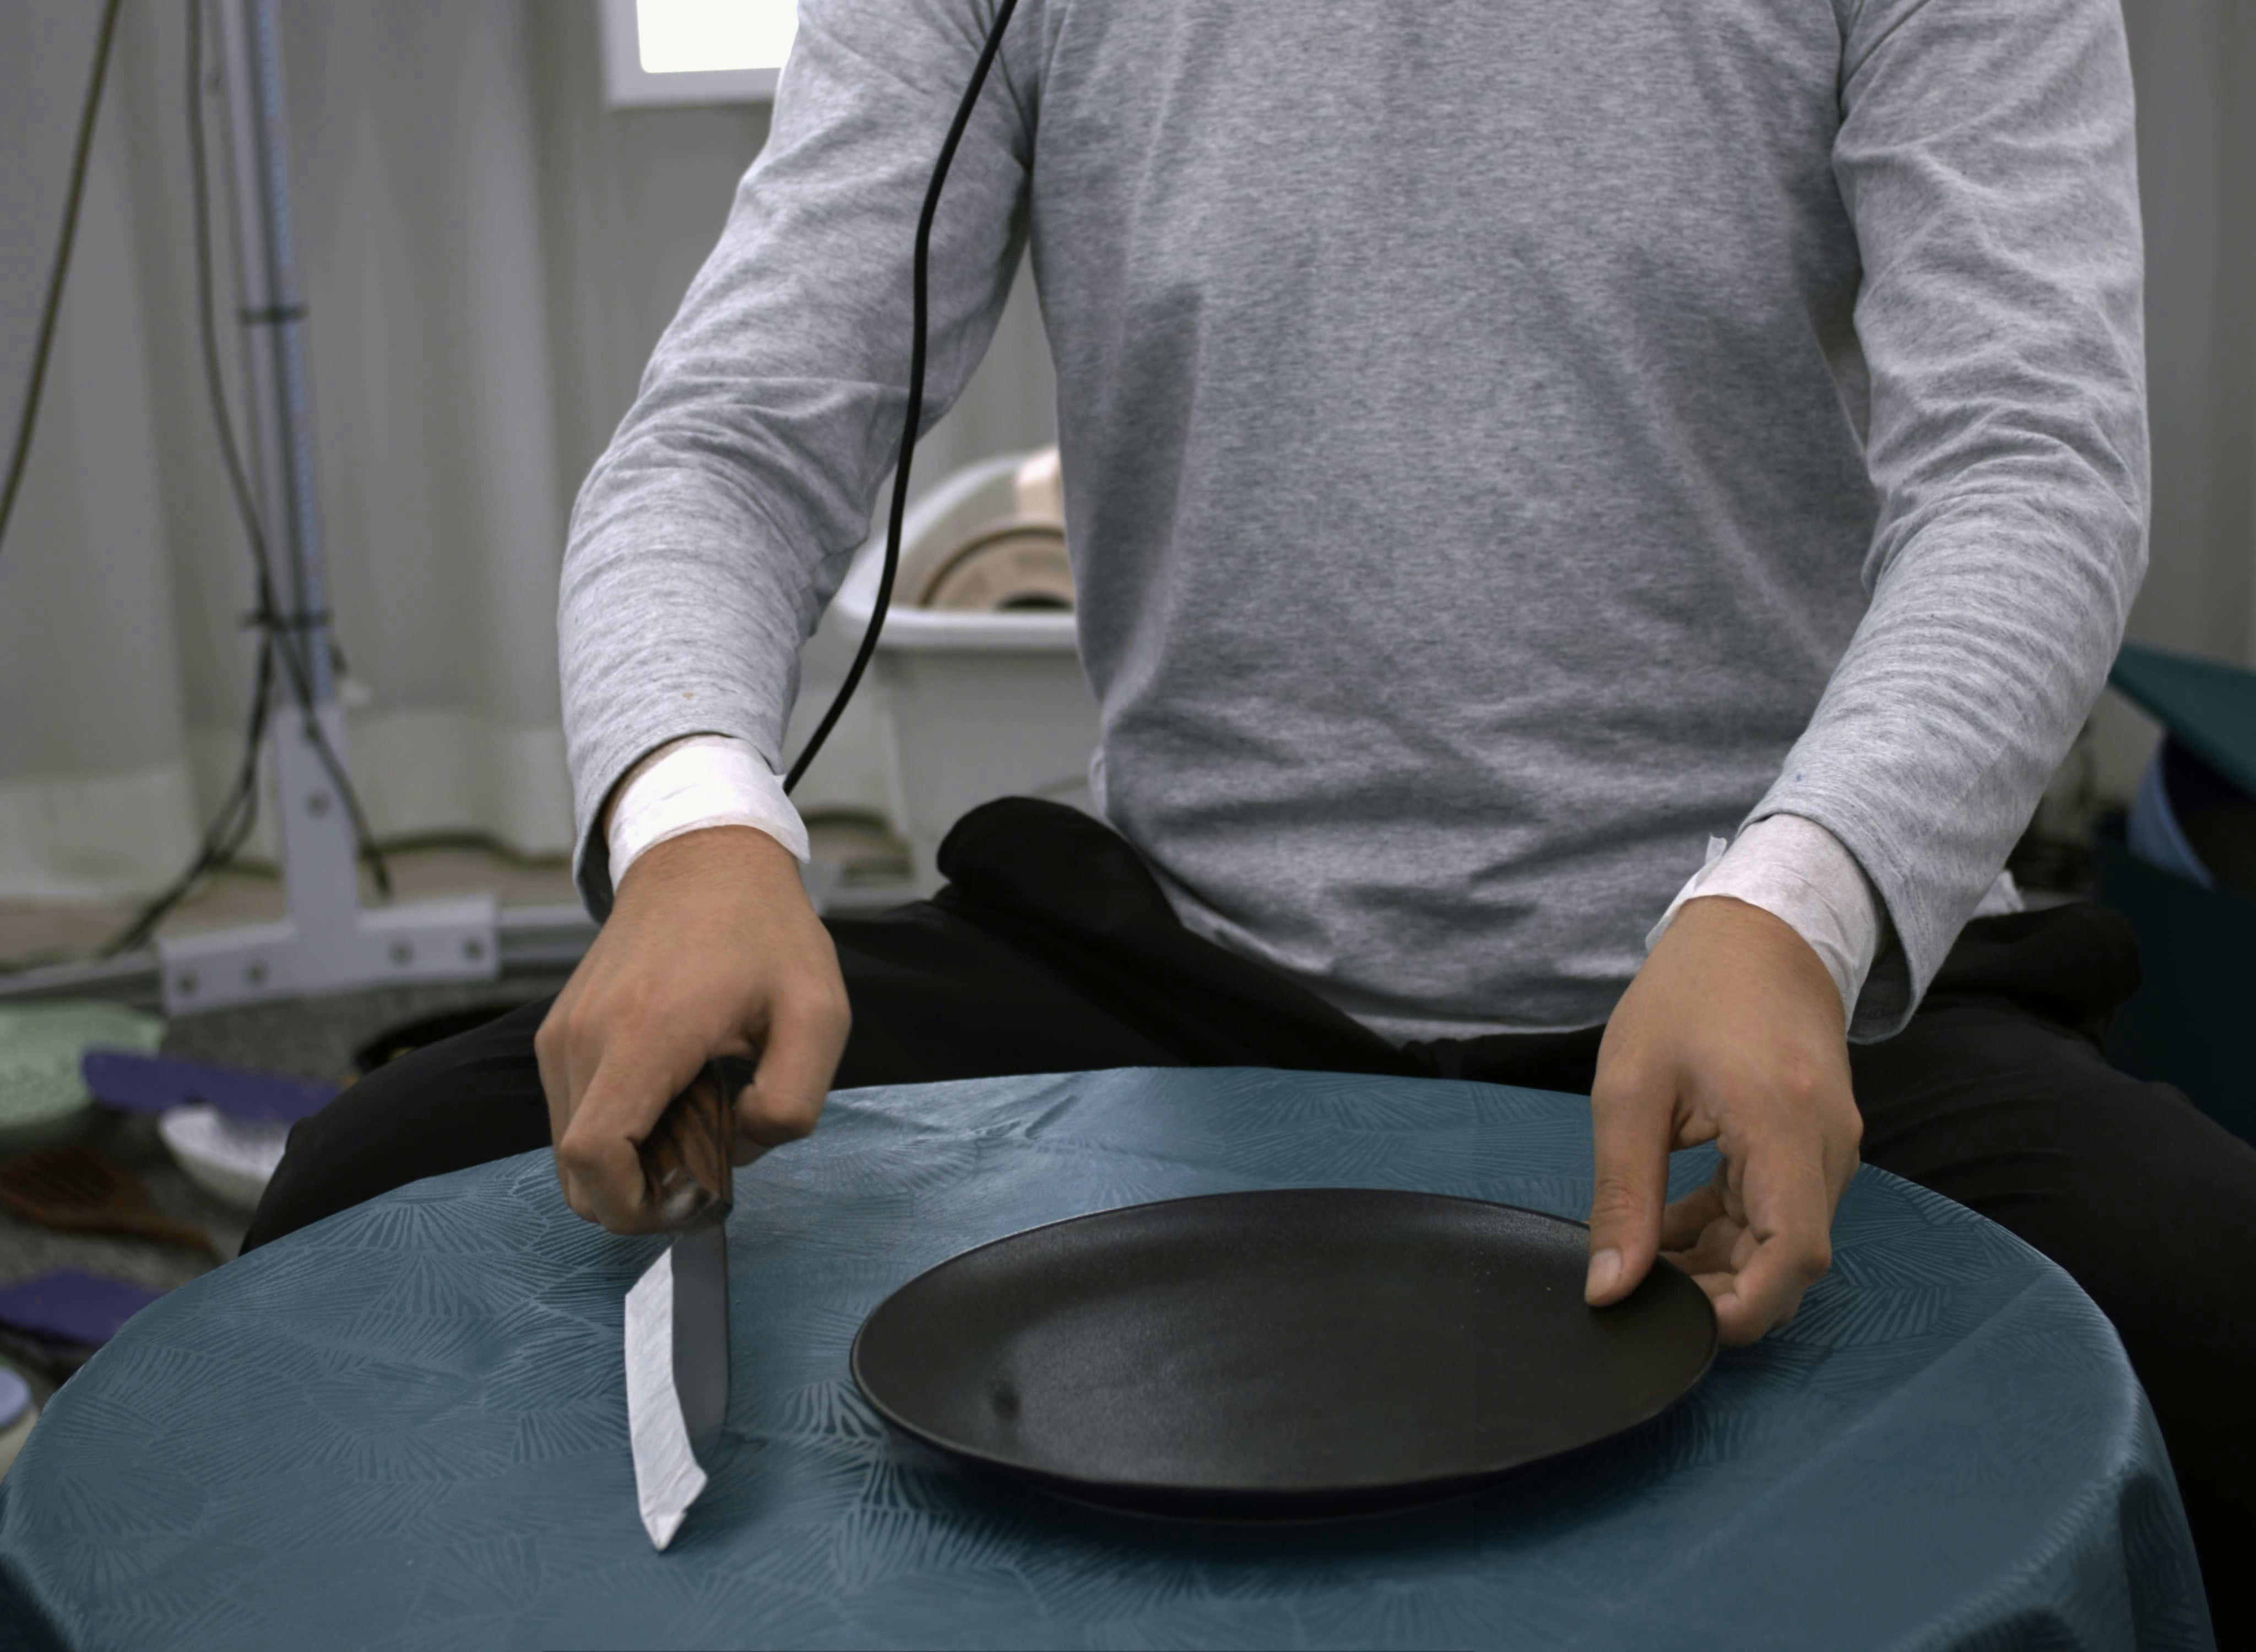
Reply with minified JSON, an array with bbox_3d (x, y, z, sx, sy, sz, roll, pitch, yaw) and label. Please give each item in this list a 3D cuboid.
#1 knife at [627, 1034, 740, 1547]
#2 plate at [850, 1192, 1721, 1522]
[{"bbox_3d":[-0.128,0.130,1.576,0.020,0.050,0.292,38,16,-18],"label":"knife"},{"bbox_3d":[0.044,0.151,1.528,0.243,0.023,0.246,-3,15,0],"label":"plate"}]
